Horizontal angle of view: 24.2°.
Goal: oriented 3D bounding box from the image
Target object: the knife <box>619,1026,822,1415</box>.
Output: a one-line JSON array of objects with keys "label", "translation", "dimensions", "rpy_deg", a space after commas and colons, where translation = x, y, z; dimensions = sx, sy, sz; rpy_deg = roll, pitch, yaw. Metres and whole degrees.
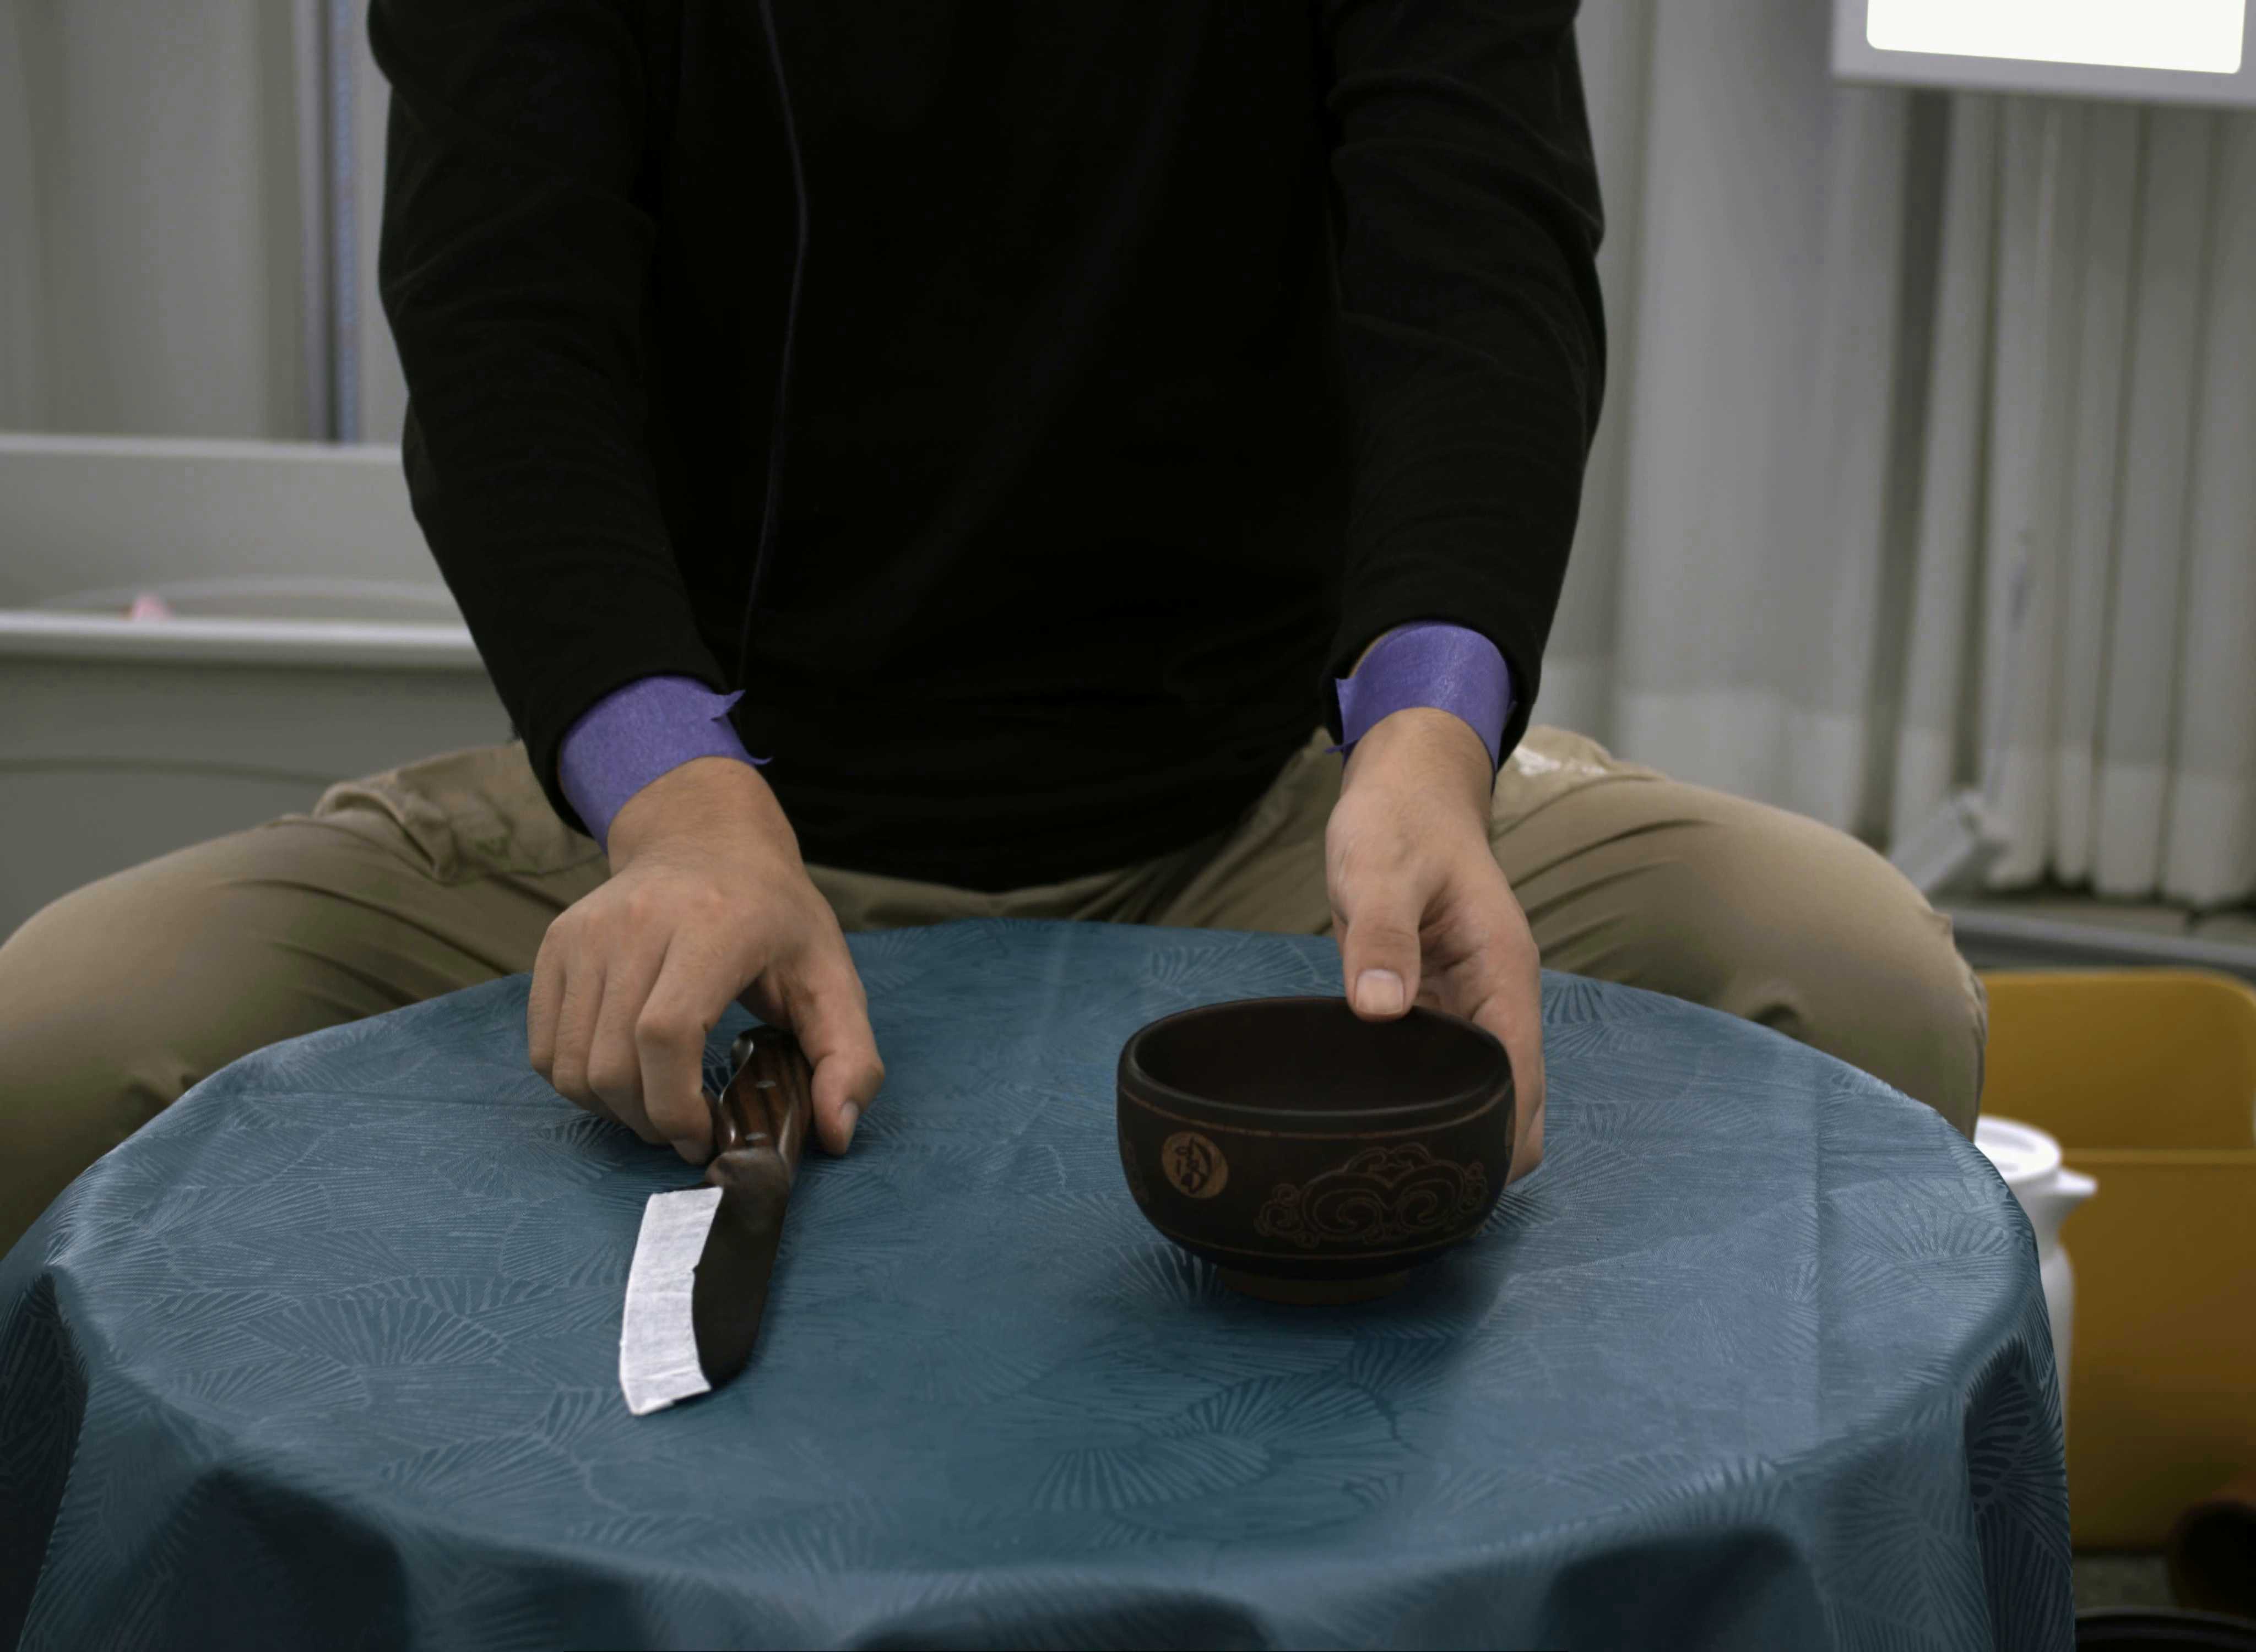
[{"label": "knife", "translation": [-0.121, 0.117, 1.575], "dimensions": [0.050, 0.020, 0.287], "rpy_deg": [-6, 17, 6]}]

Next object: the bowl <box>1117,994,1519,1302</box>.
[{"label": "bowl", "translation": [0.056, 0.098, 1.545], "dimensions": [0.117, 0.070, 0.117], "rpy_deg": [0, 15, 1]}]
